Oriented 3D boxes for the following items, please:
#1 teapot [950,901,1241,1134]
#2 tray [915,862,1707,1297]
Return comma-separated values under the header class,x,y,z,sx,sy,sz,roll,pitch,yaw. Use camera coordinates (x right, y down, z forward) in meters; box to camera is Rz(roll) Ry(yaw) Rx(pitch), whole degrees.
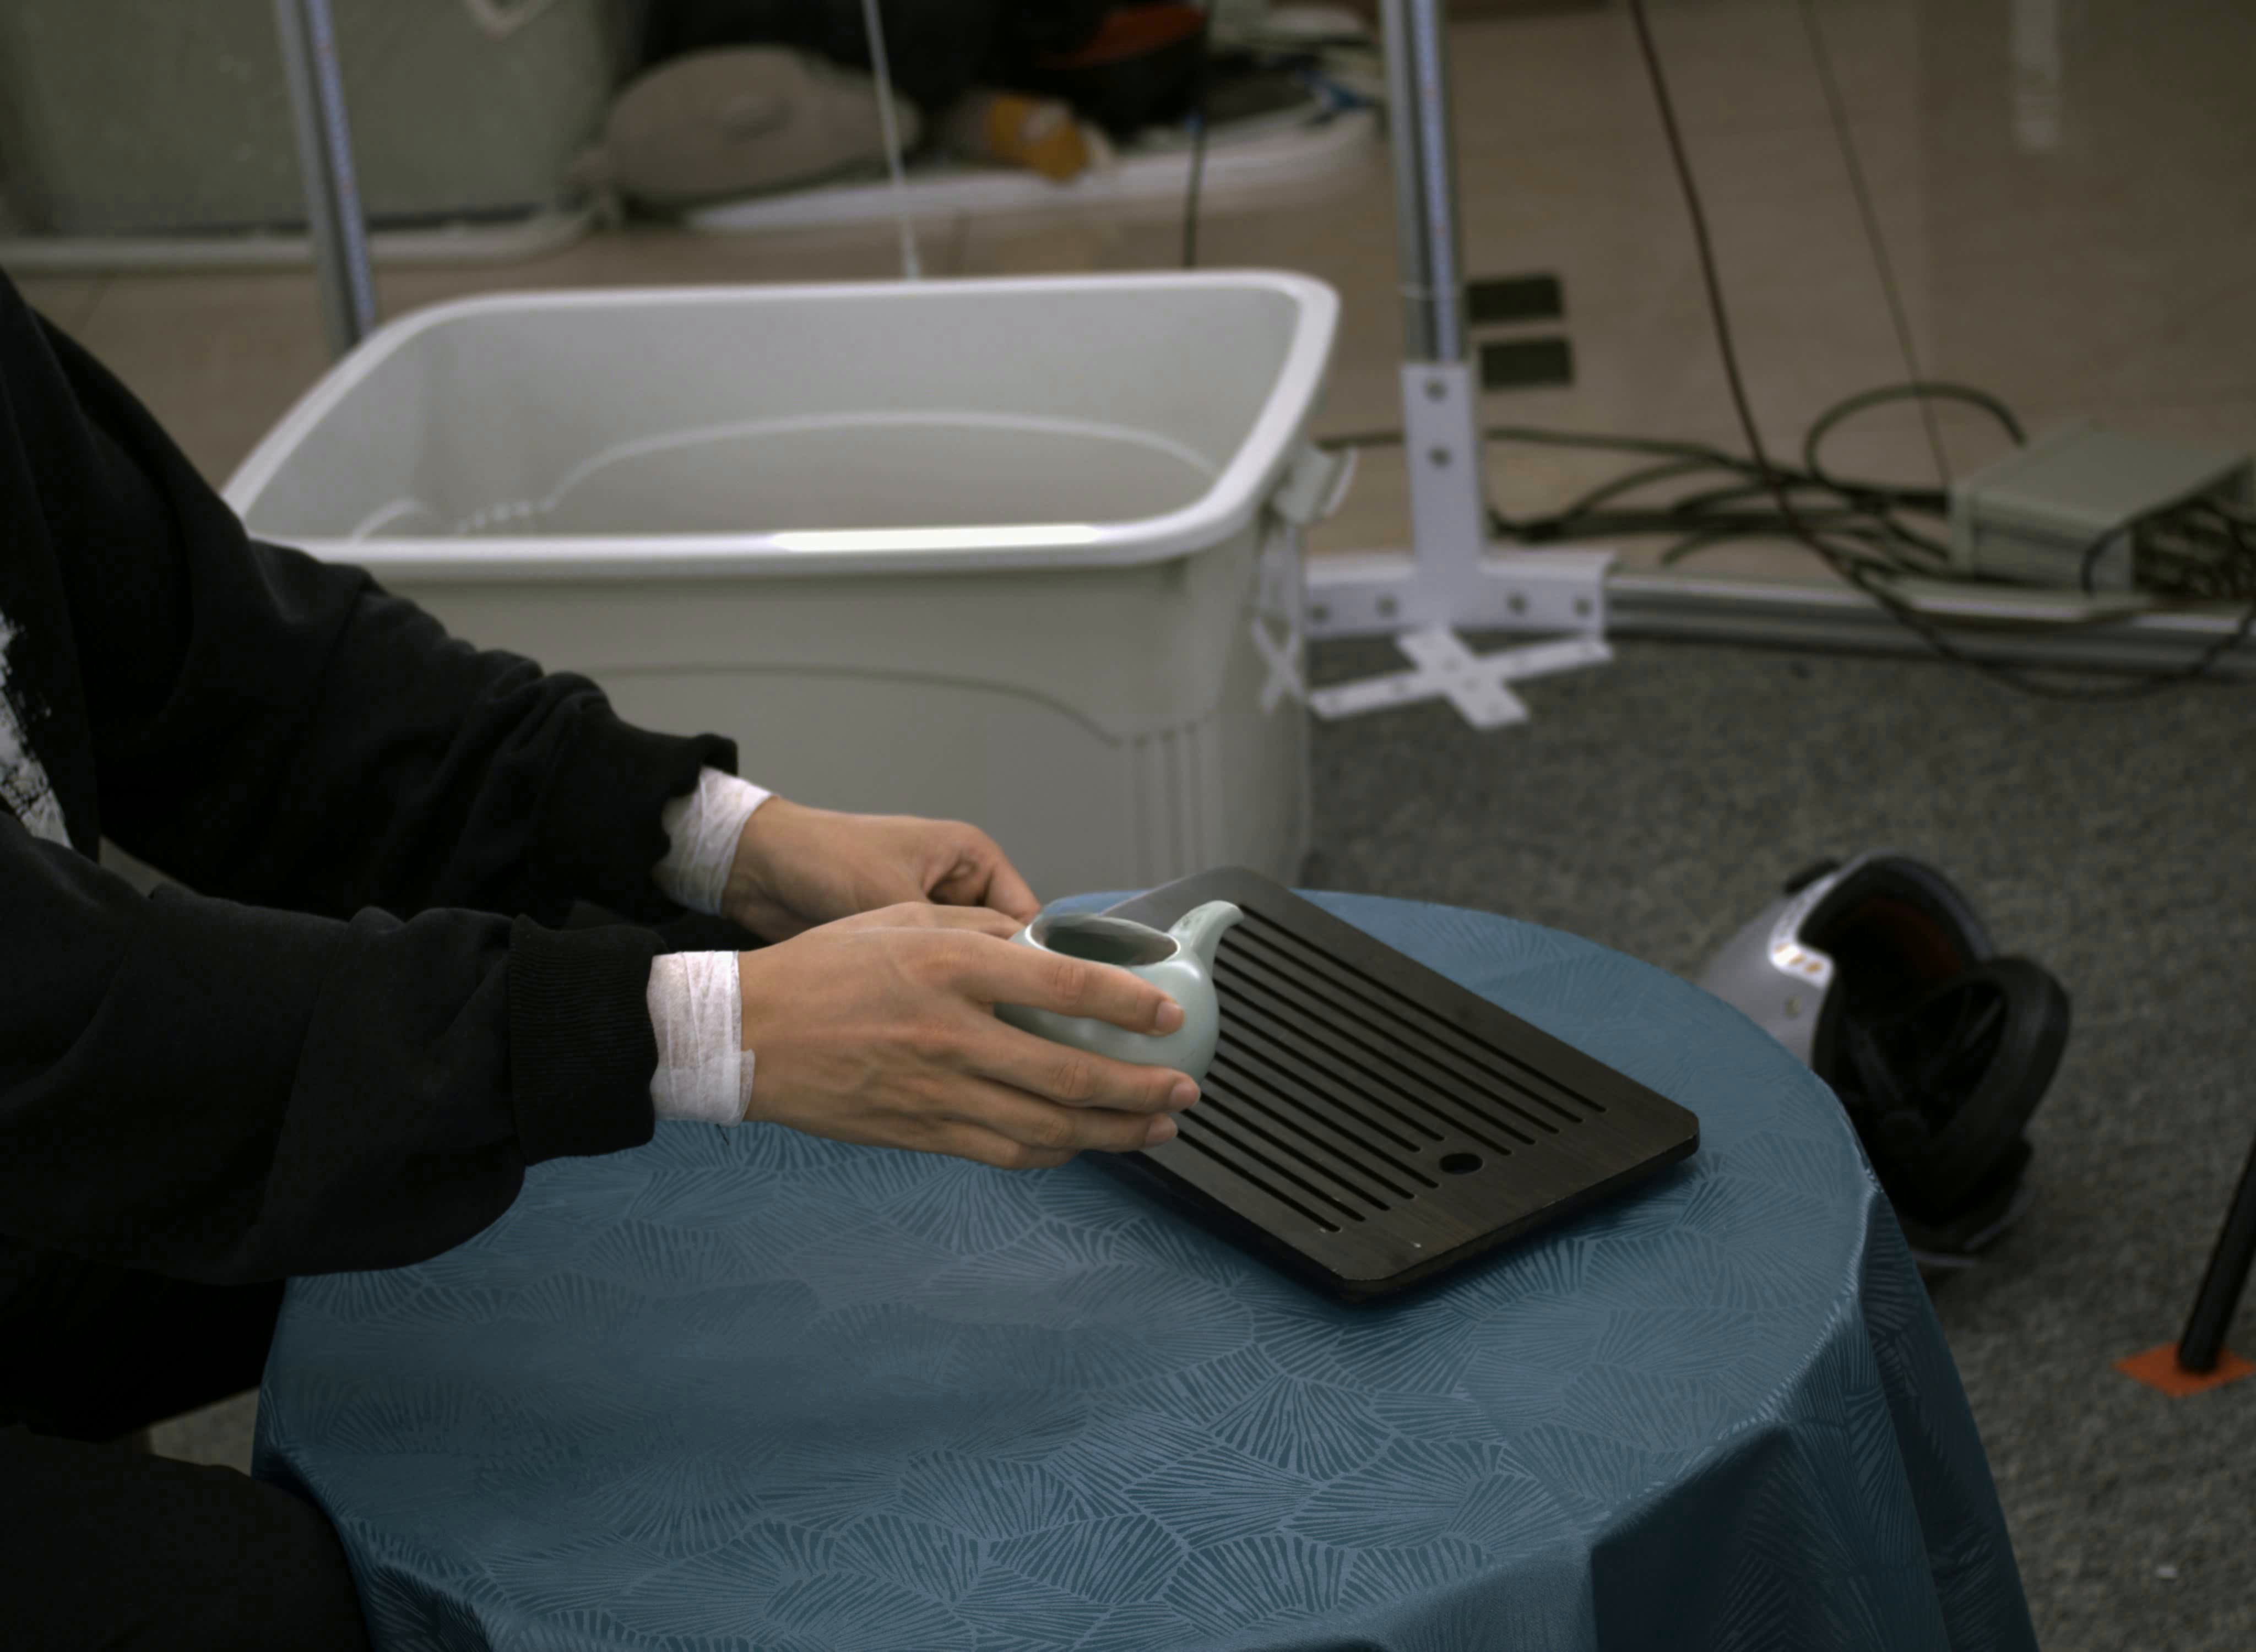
class,x,y,z,sx,sy,sz,roll,pitch,yaw
teapot,-0.013,0.069,2.028,0.087,0.075,0.143,21,20,41
tray,0.066,0.095,2.192,0.169,0.019,0.302,-22,31,-29
